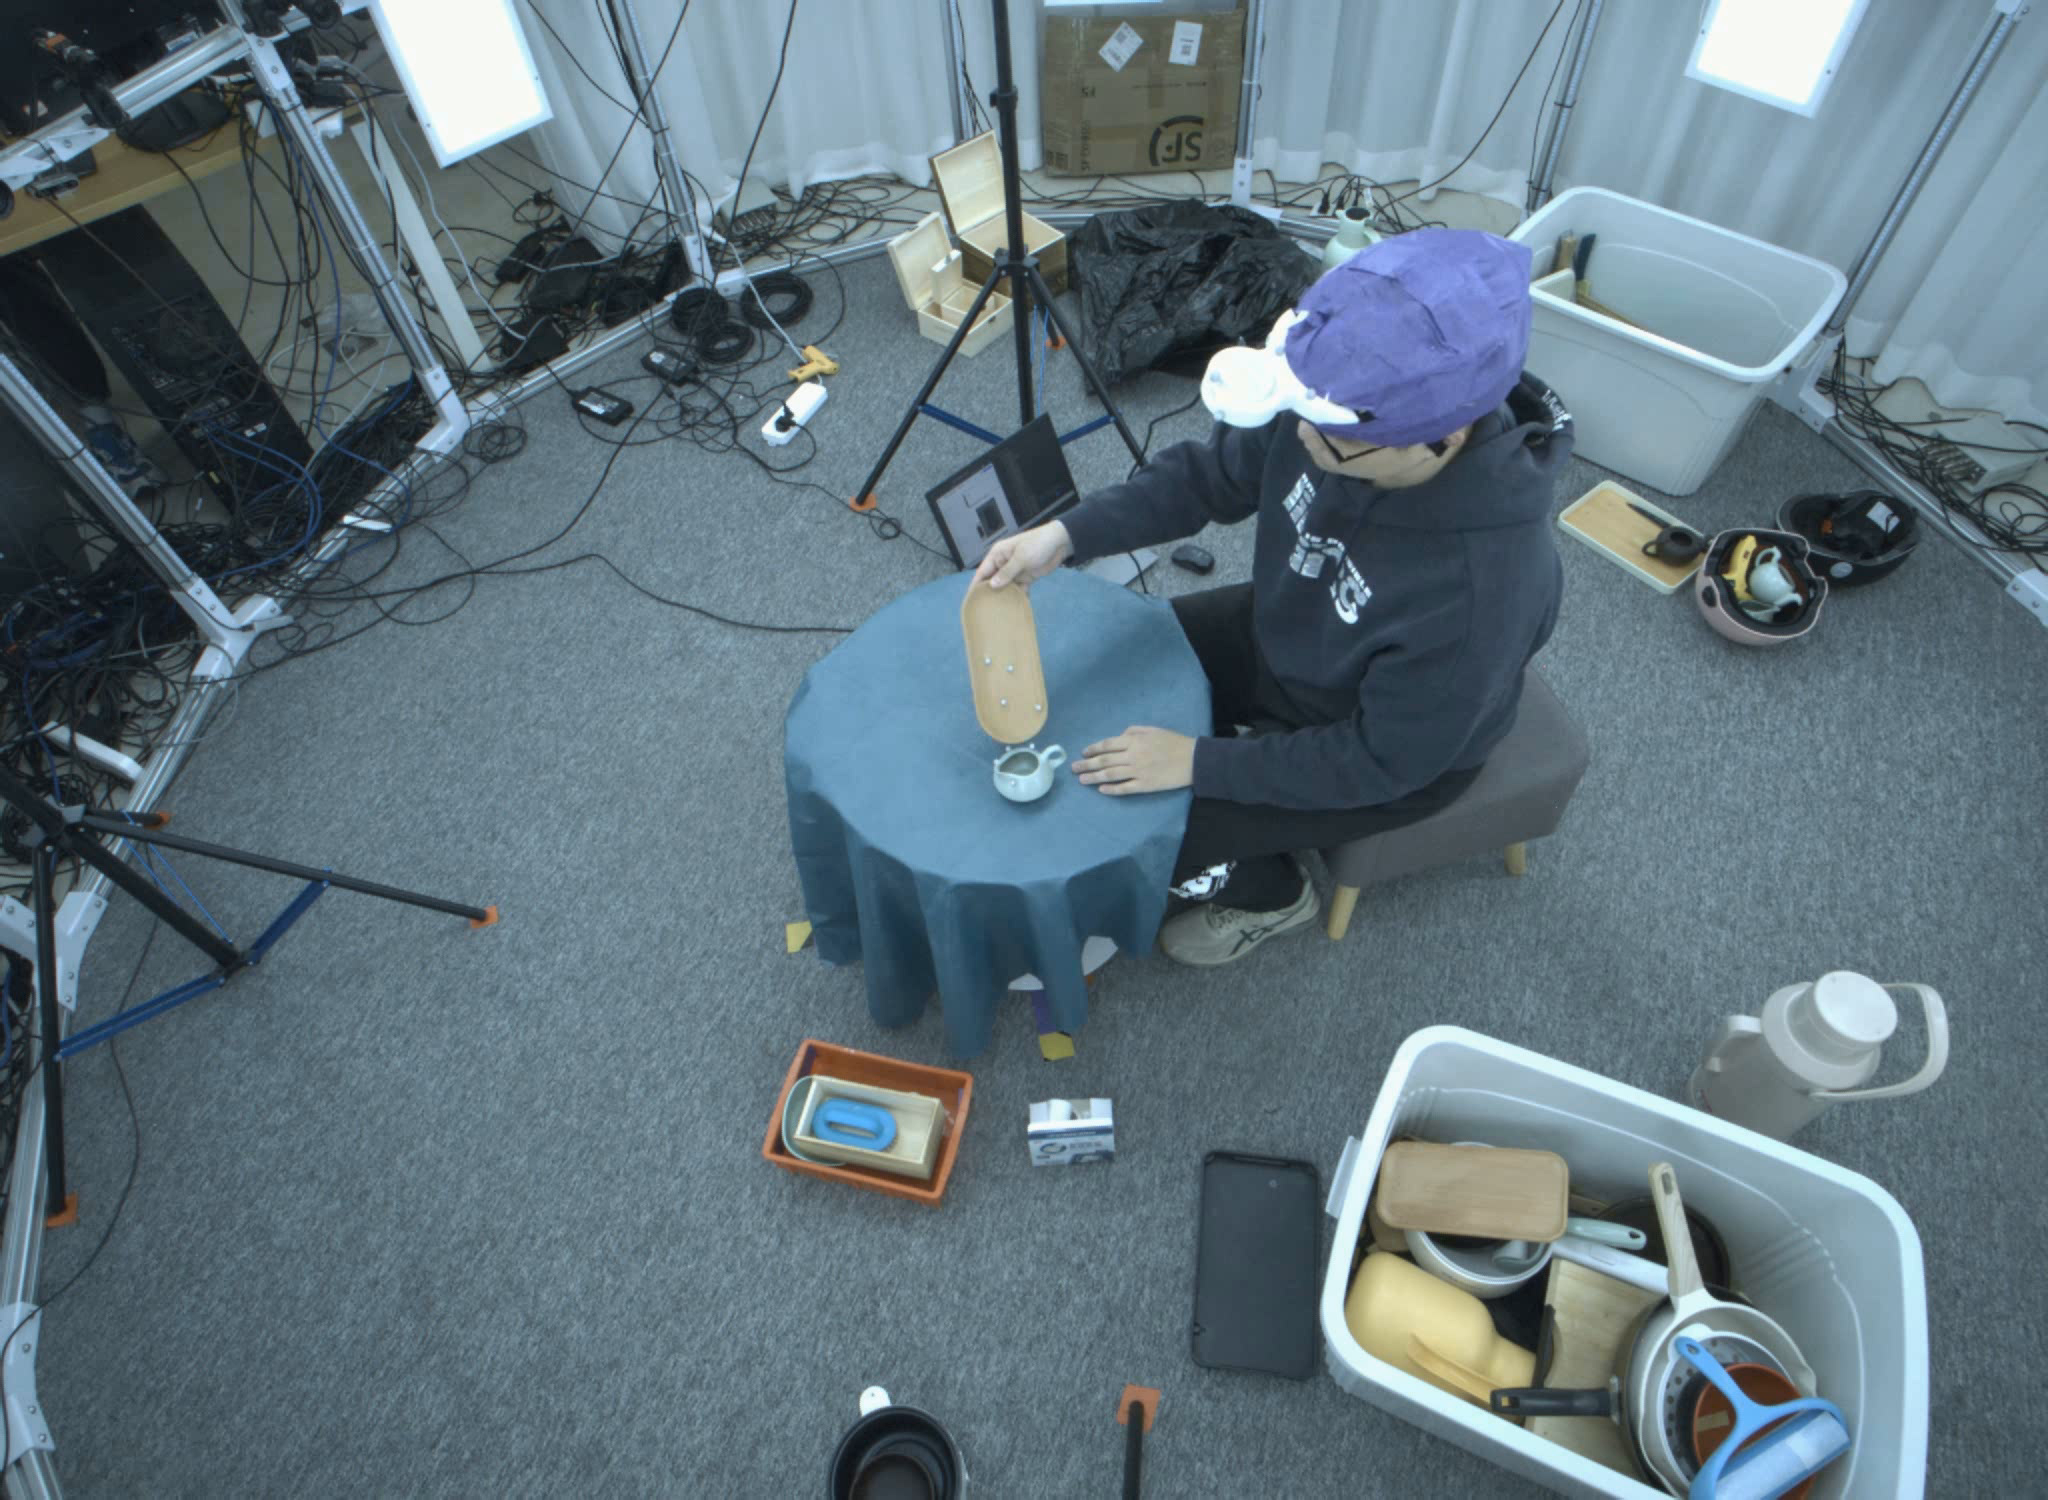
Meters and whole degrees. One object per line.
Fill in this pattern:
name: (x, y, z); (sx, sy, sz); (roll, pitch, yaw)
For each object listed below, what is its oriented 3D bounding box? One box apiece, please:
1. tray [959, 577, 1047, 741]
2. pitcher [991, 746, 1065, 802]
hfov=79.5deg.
tray: (-0.029, -0.127, 1.712); (0.102, 0.020, 0.231); (-10, 89, -13)
pitcher: (0.007, 0.027, 1.735); (0.109, 0.061, 0.084); (-20, 57, -14)
